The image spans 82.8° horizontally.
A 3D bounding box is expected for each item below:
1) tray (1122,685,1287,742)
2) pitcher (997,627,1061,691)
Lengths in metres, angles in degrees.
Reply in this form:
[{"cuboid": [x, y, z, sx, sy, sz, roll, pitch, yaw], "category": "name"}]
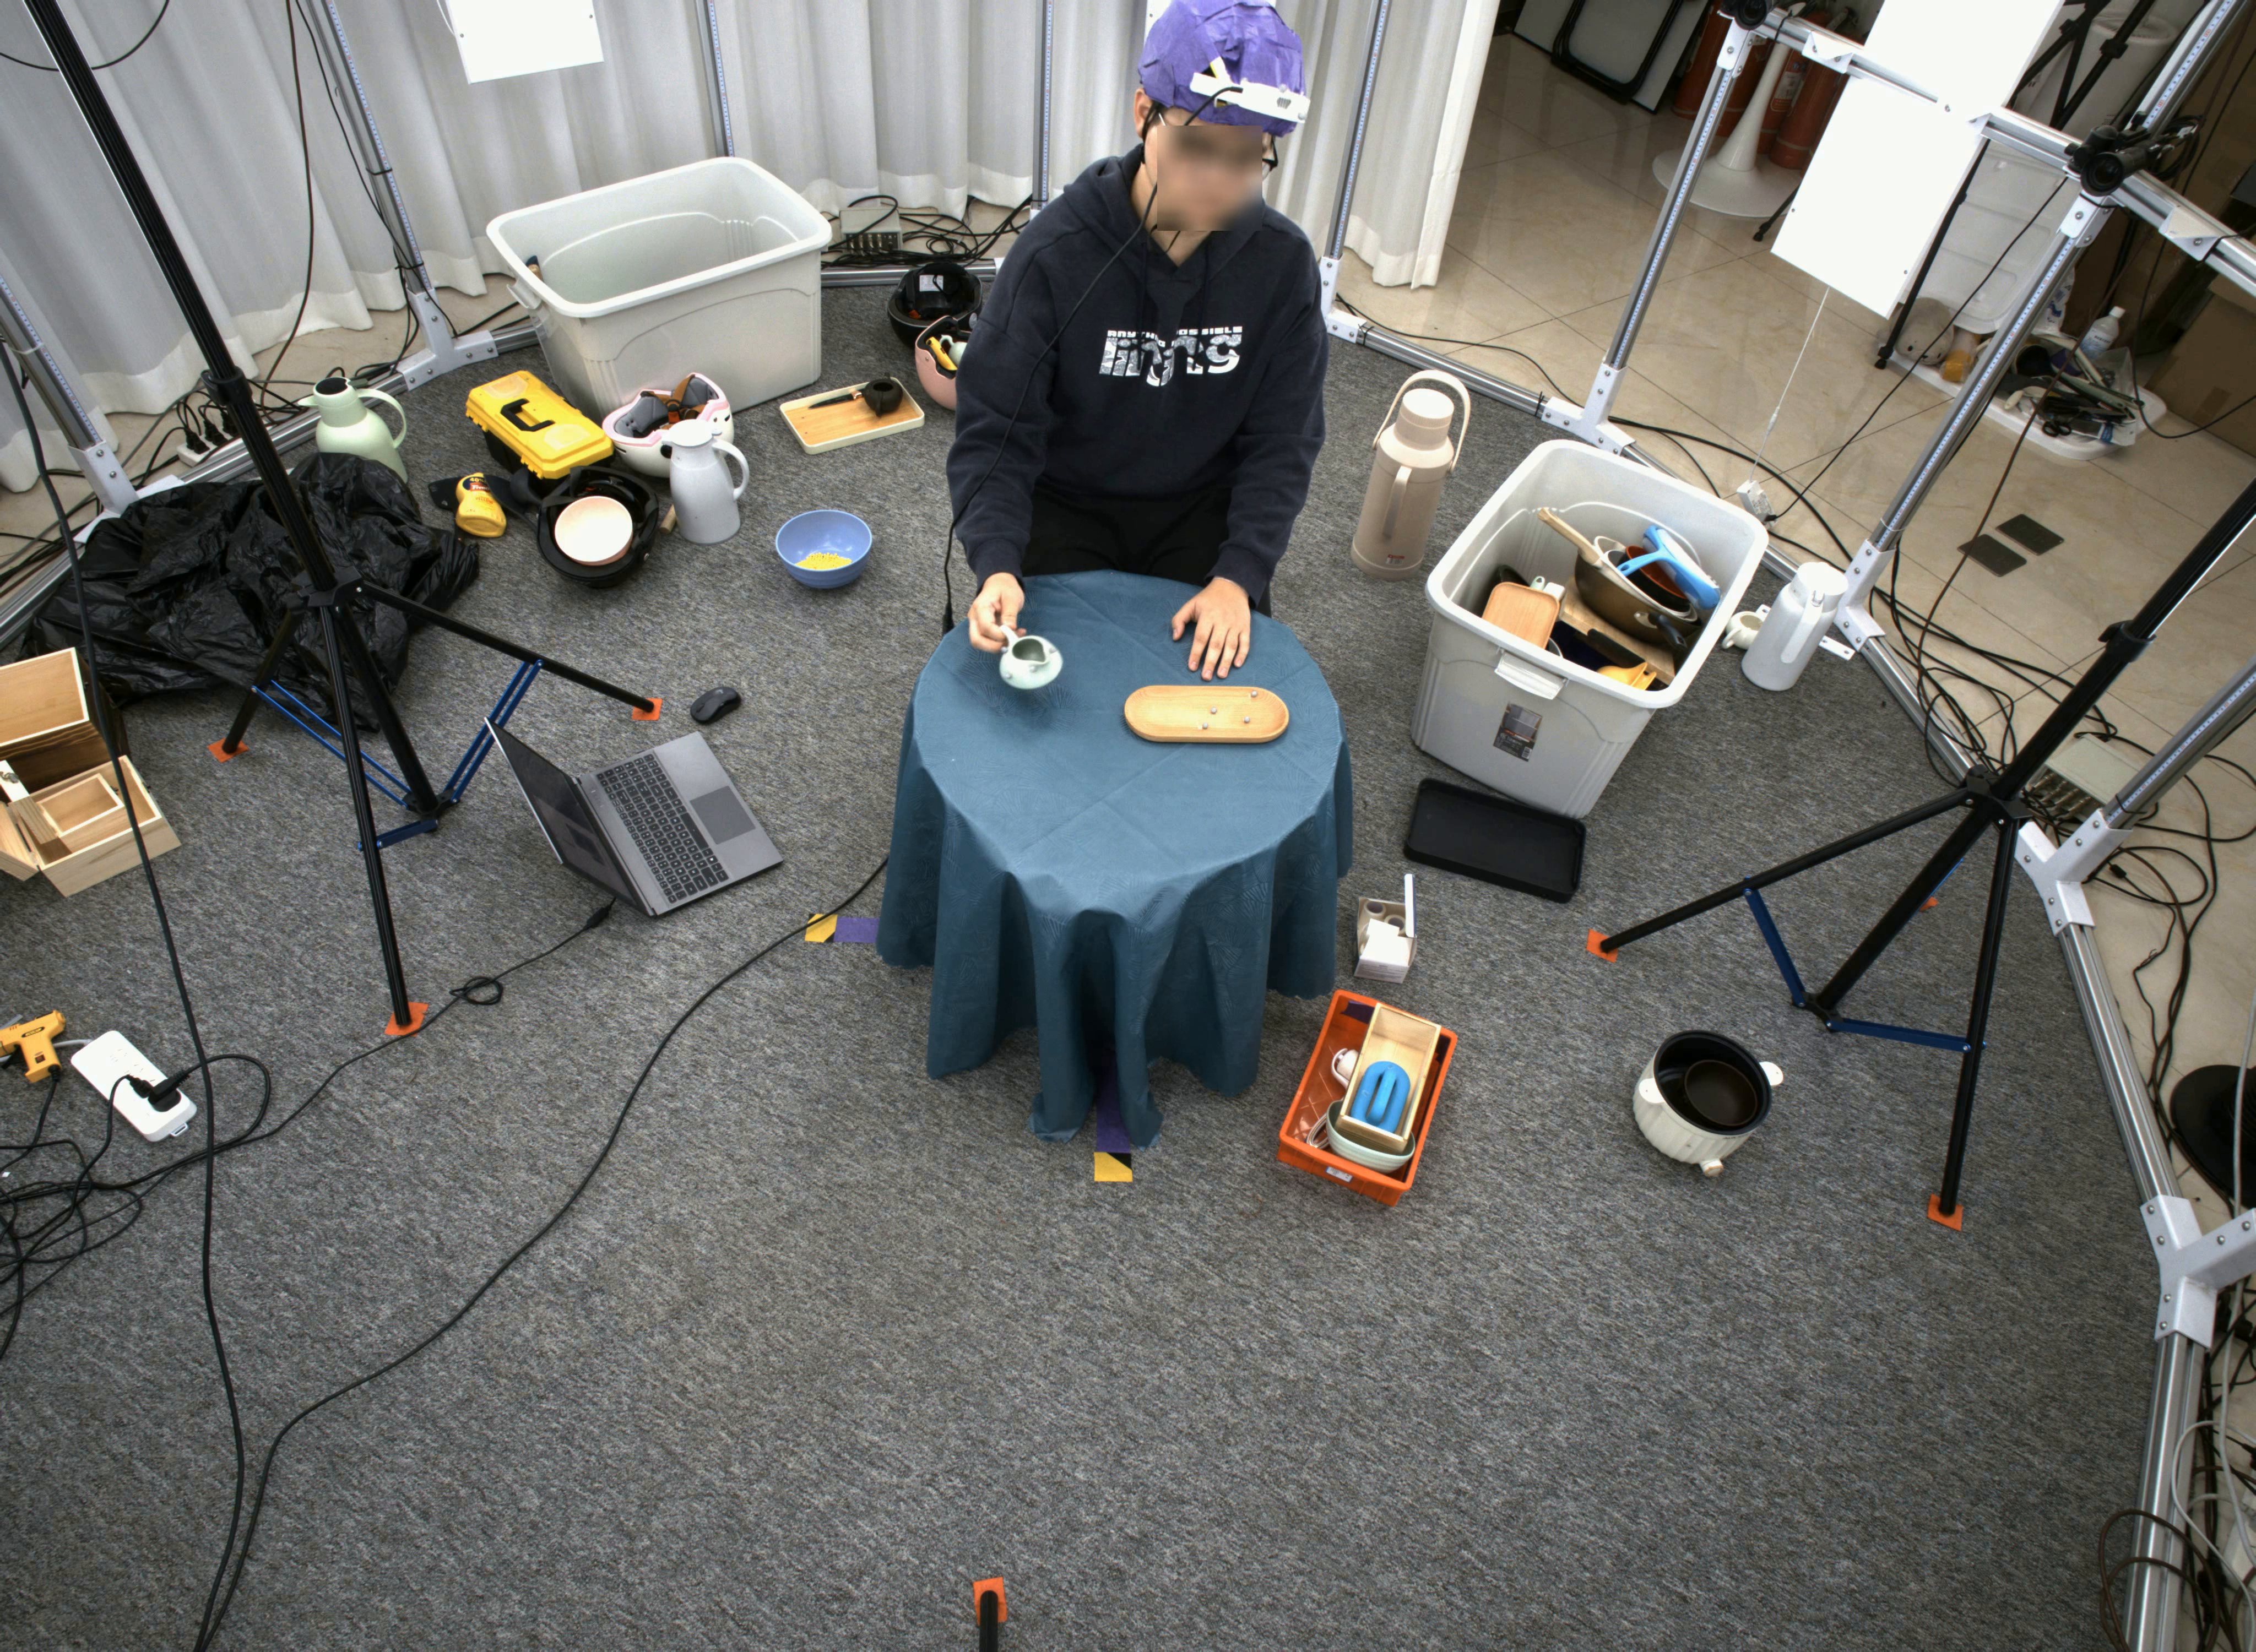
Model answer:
[{"cuboid": [0.107, -0.157, 1.800, 0.231, 0.020, 0.104, -1, 48, -3], "category": "tray"}, {"cuboid": [-0.144, -0.230, 1.768, 0.086, 0.059, 0.110, -37, 54, -21], "category": "pitcher"}]
